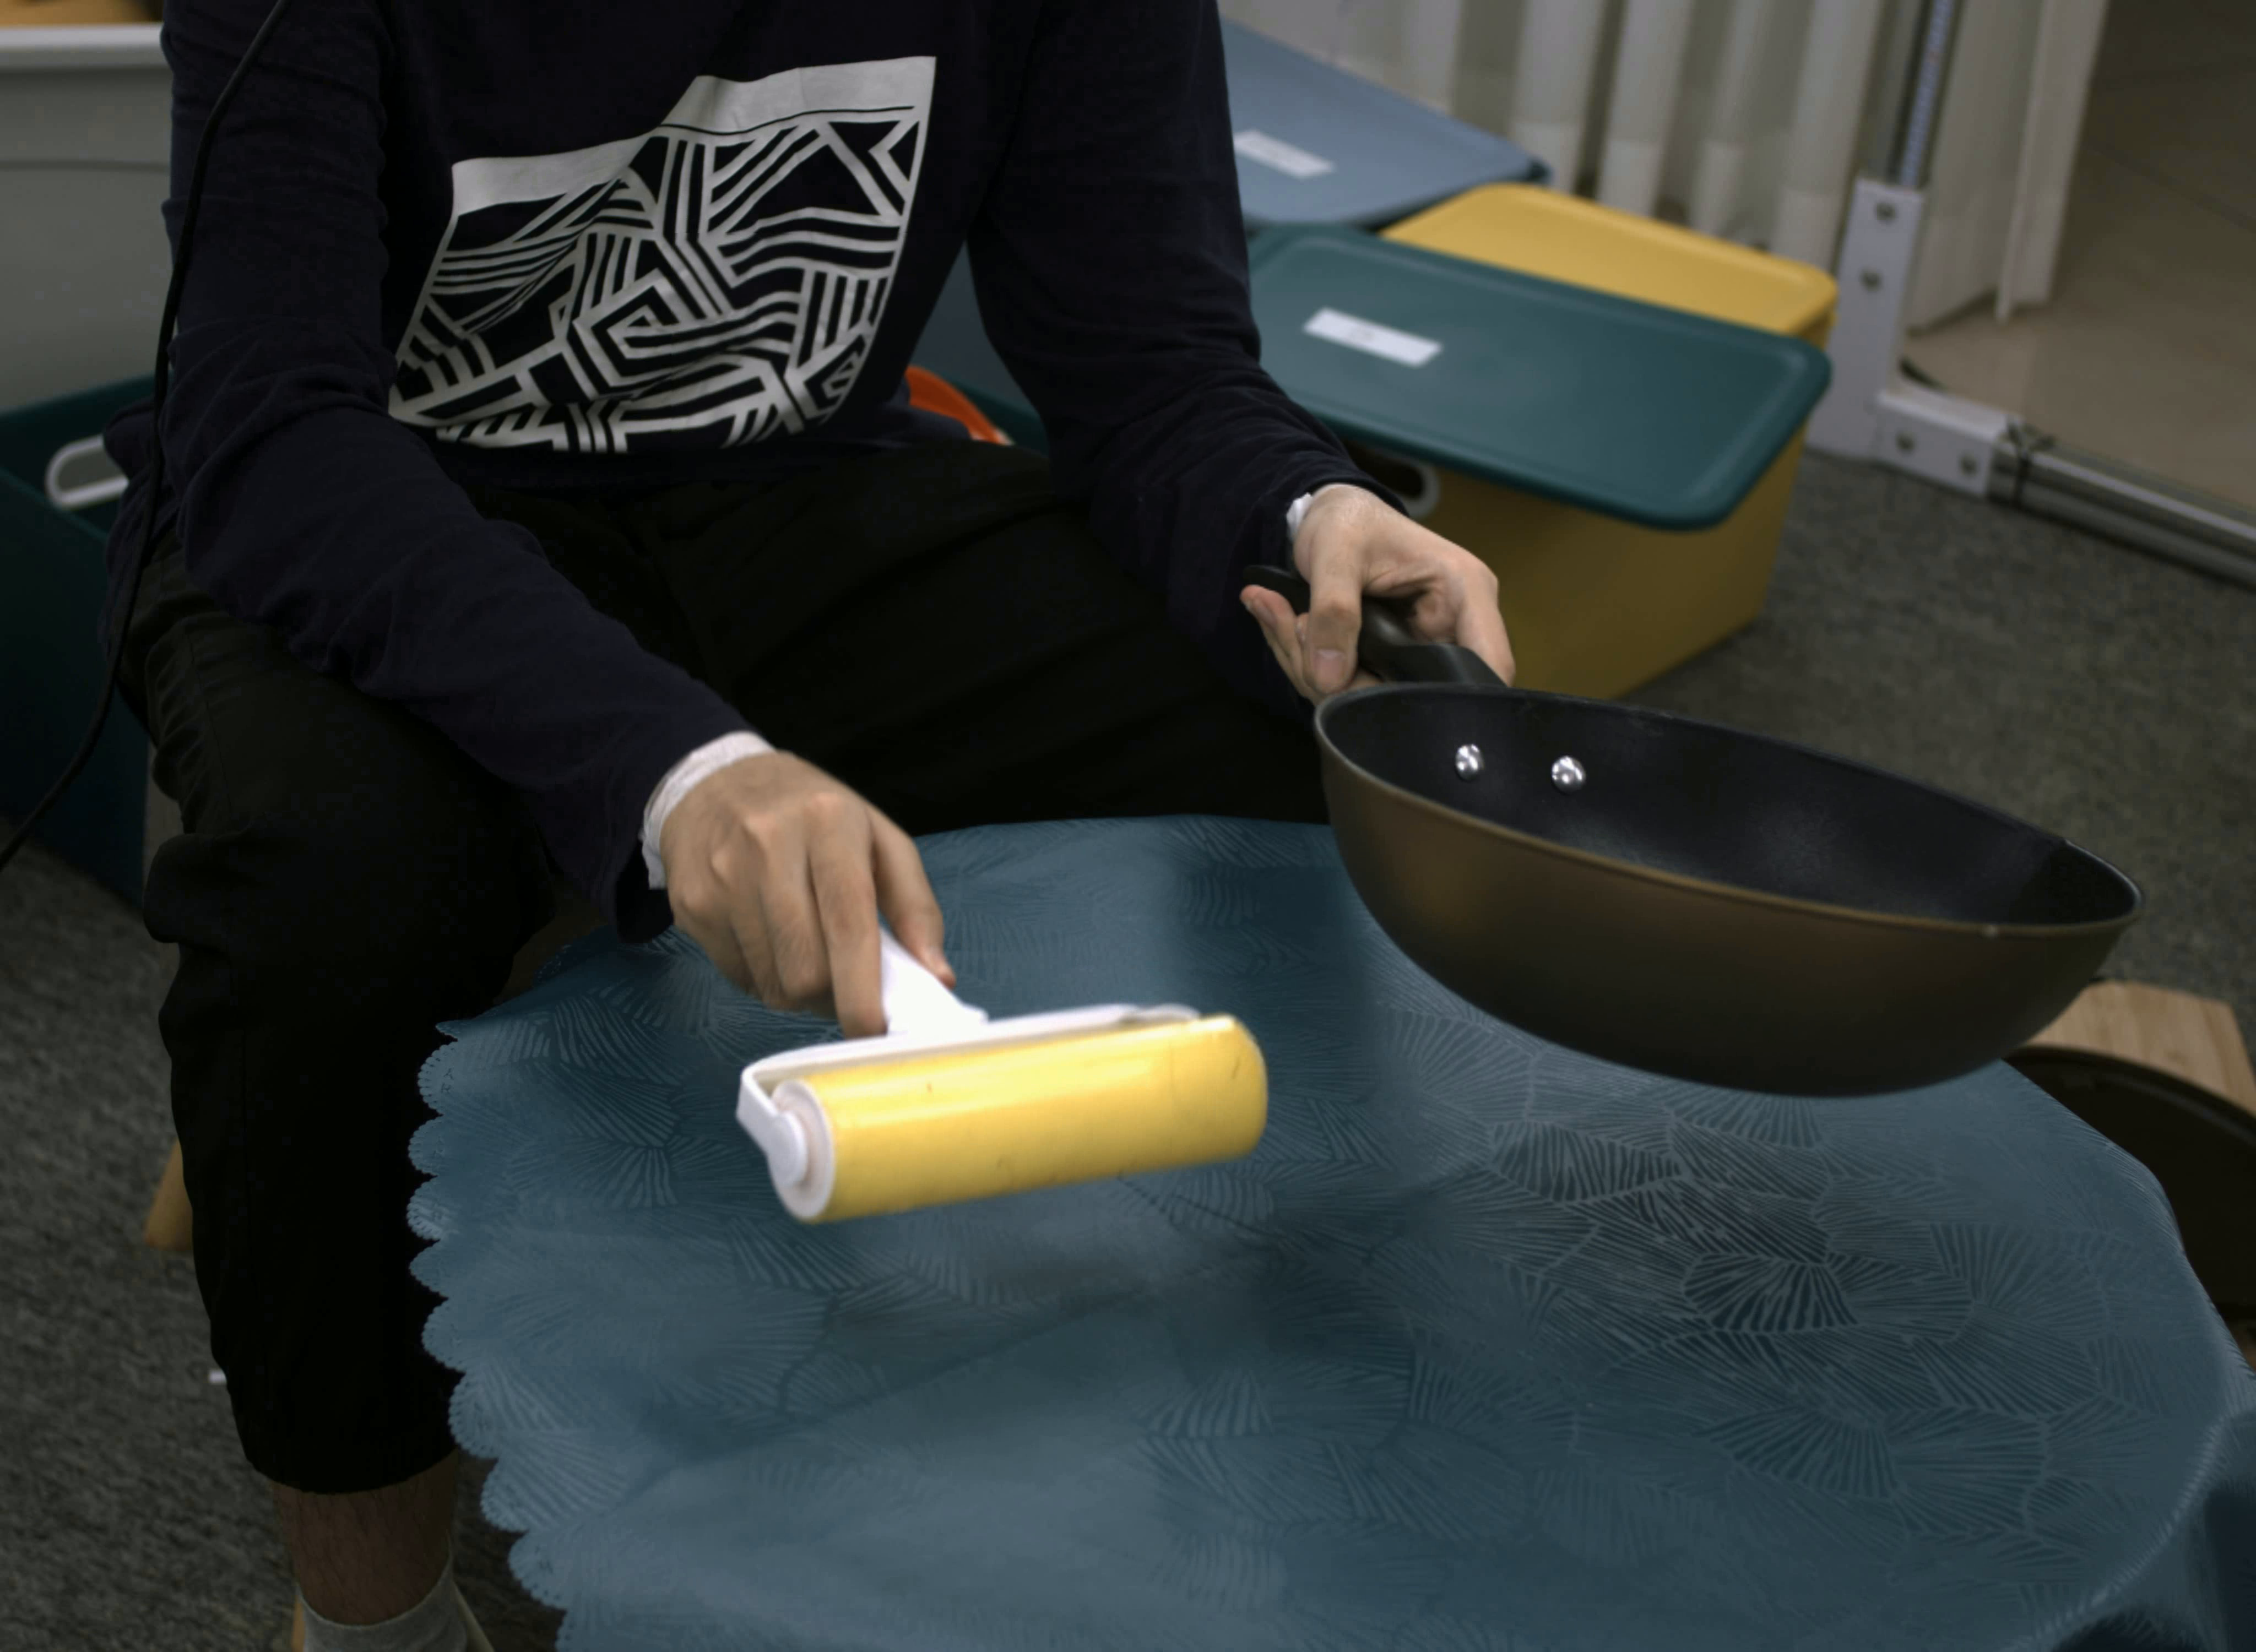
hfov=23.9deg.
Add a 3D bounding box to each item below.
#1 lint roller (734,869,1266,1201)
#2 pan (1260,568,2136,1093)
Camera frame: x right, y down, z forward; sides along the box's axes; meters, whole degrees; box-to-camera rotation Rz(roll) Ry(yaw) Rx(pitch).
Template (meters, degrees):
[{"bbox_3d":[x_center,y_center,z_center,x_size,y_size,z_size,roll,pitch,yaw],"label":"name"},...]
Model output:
[{"bbox_3d":[-0.072,0.051,1.748,0.173,0.051,0.194,-8,35,-31],"label":"lint roller"},{"bbox_3d":[0.146,0.000,1.841,0.286,0.087,0.467,6,13,-28],"label":"pan"}]
